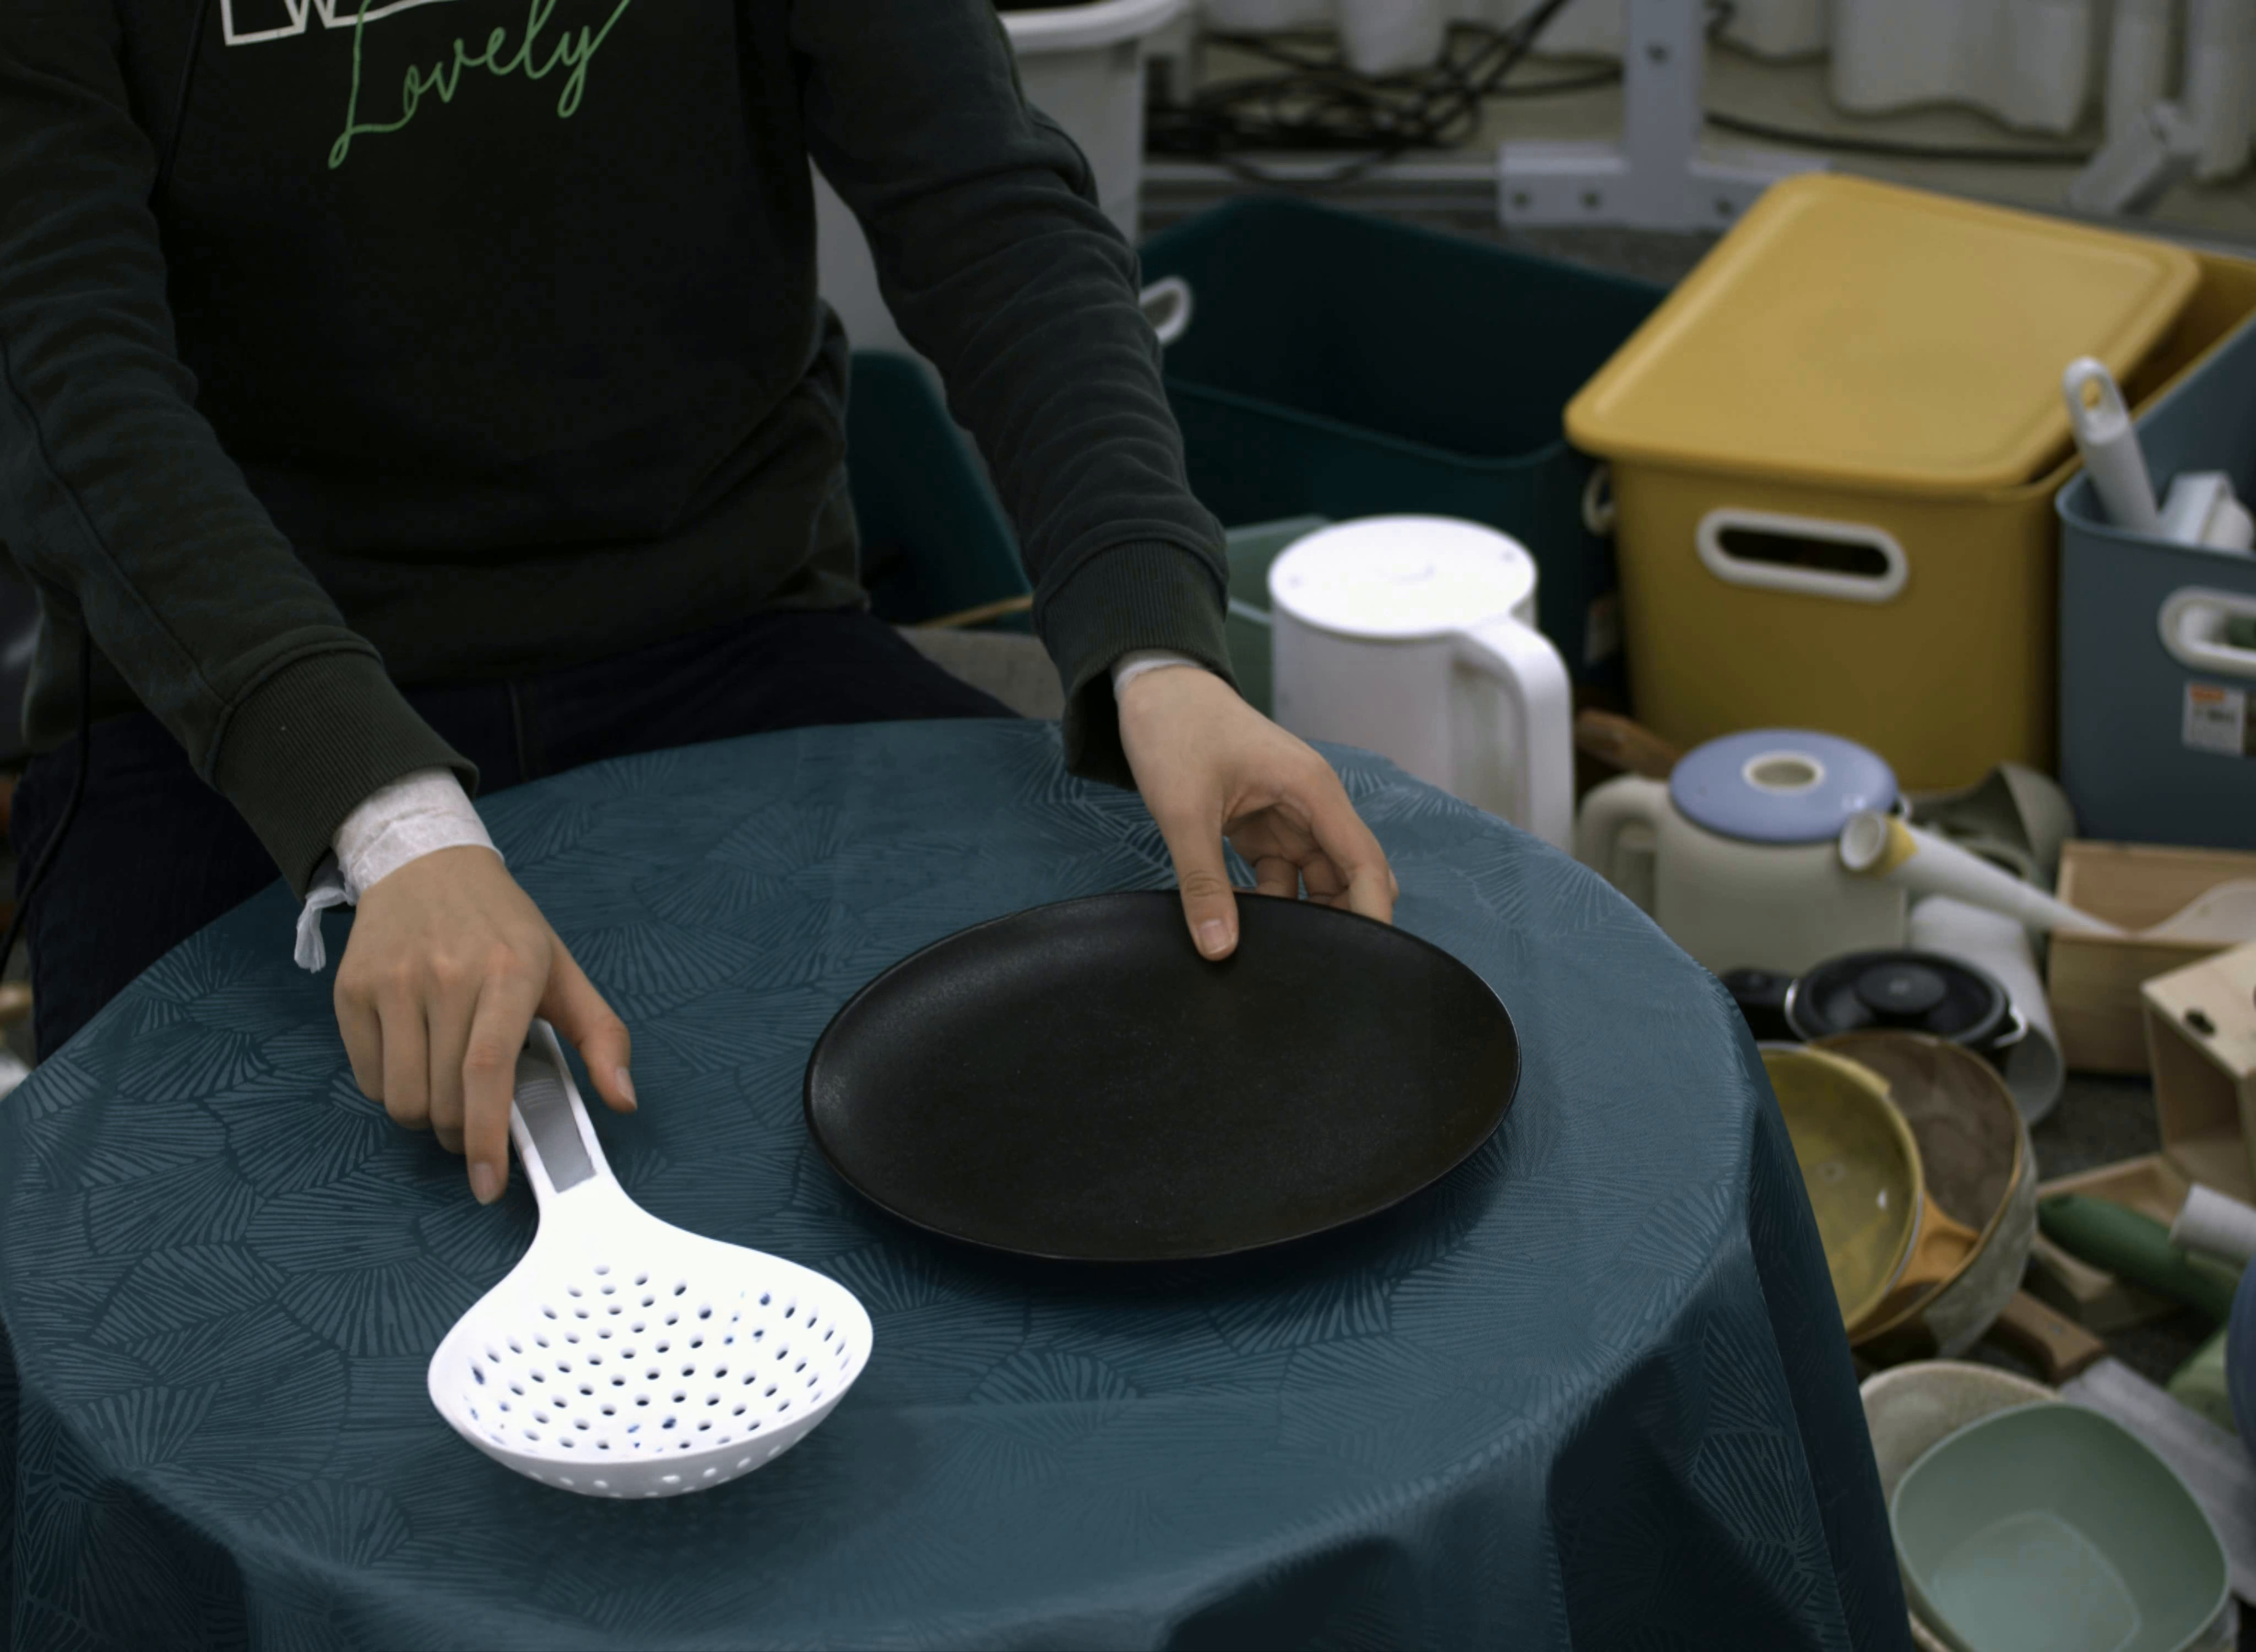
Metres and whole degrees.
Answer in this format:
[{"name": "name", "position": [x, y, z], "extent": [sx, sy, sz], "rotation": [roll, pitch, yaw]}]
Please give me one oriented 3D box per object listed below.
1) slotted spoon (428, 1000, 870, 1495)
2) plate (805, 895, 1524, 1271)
[{"name": "slotted spoon", "position": [-0.174, 0.130, 1.814], "extent": [0.136, 0.045, 0.353], "rotation": [-8, 27, -13]}, {"name": "plate", "position": [0.013, 0.090, 1.896], "extent": [0.243, 0.023, 0.248], "rotation": [-2, 27, 2]}]
